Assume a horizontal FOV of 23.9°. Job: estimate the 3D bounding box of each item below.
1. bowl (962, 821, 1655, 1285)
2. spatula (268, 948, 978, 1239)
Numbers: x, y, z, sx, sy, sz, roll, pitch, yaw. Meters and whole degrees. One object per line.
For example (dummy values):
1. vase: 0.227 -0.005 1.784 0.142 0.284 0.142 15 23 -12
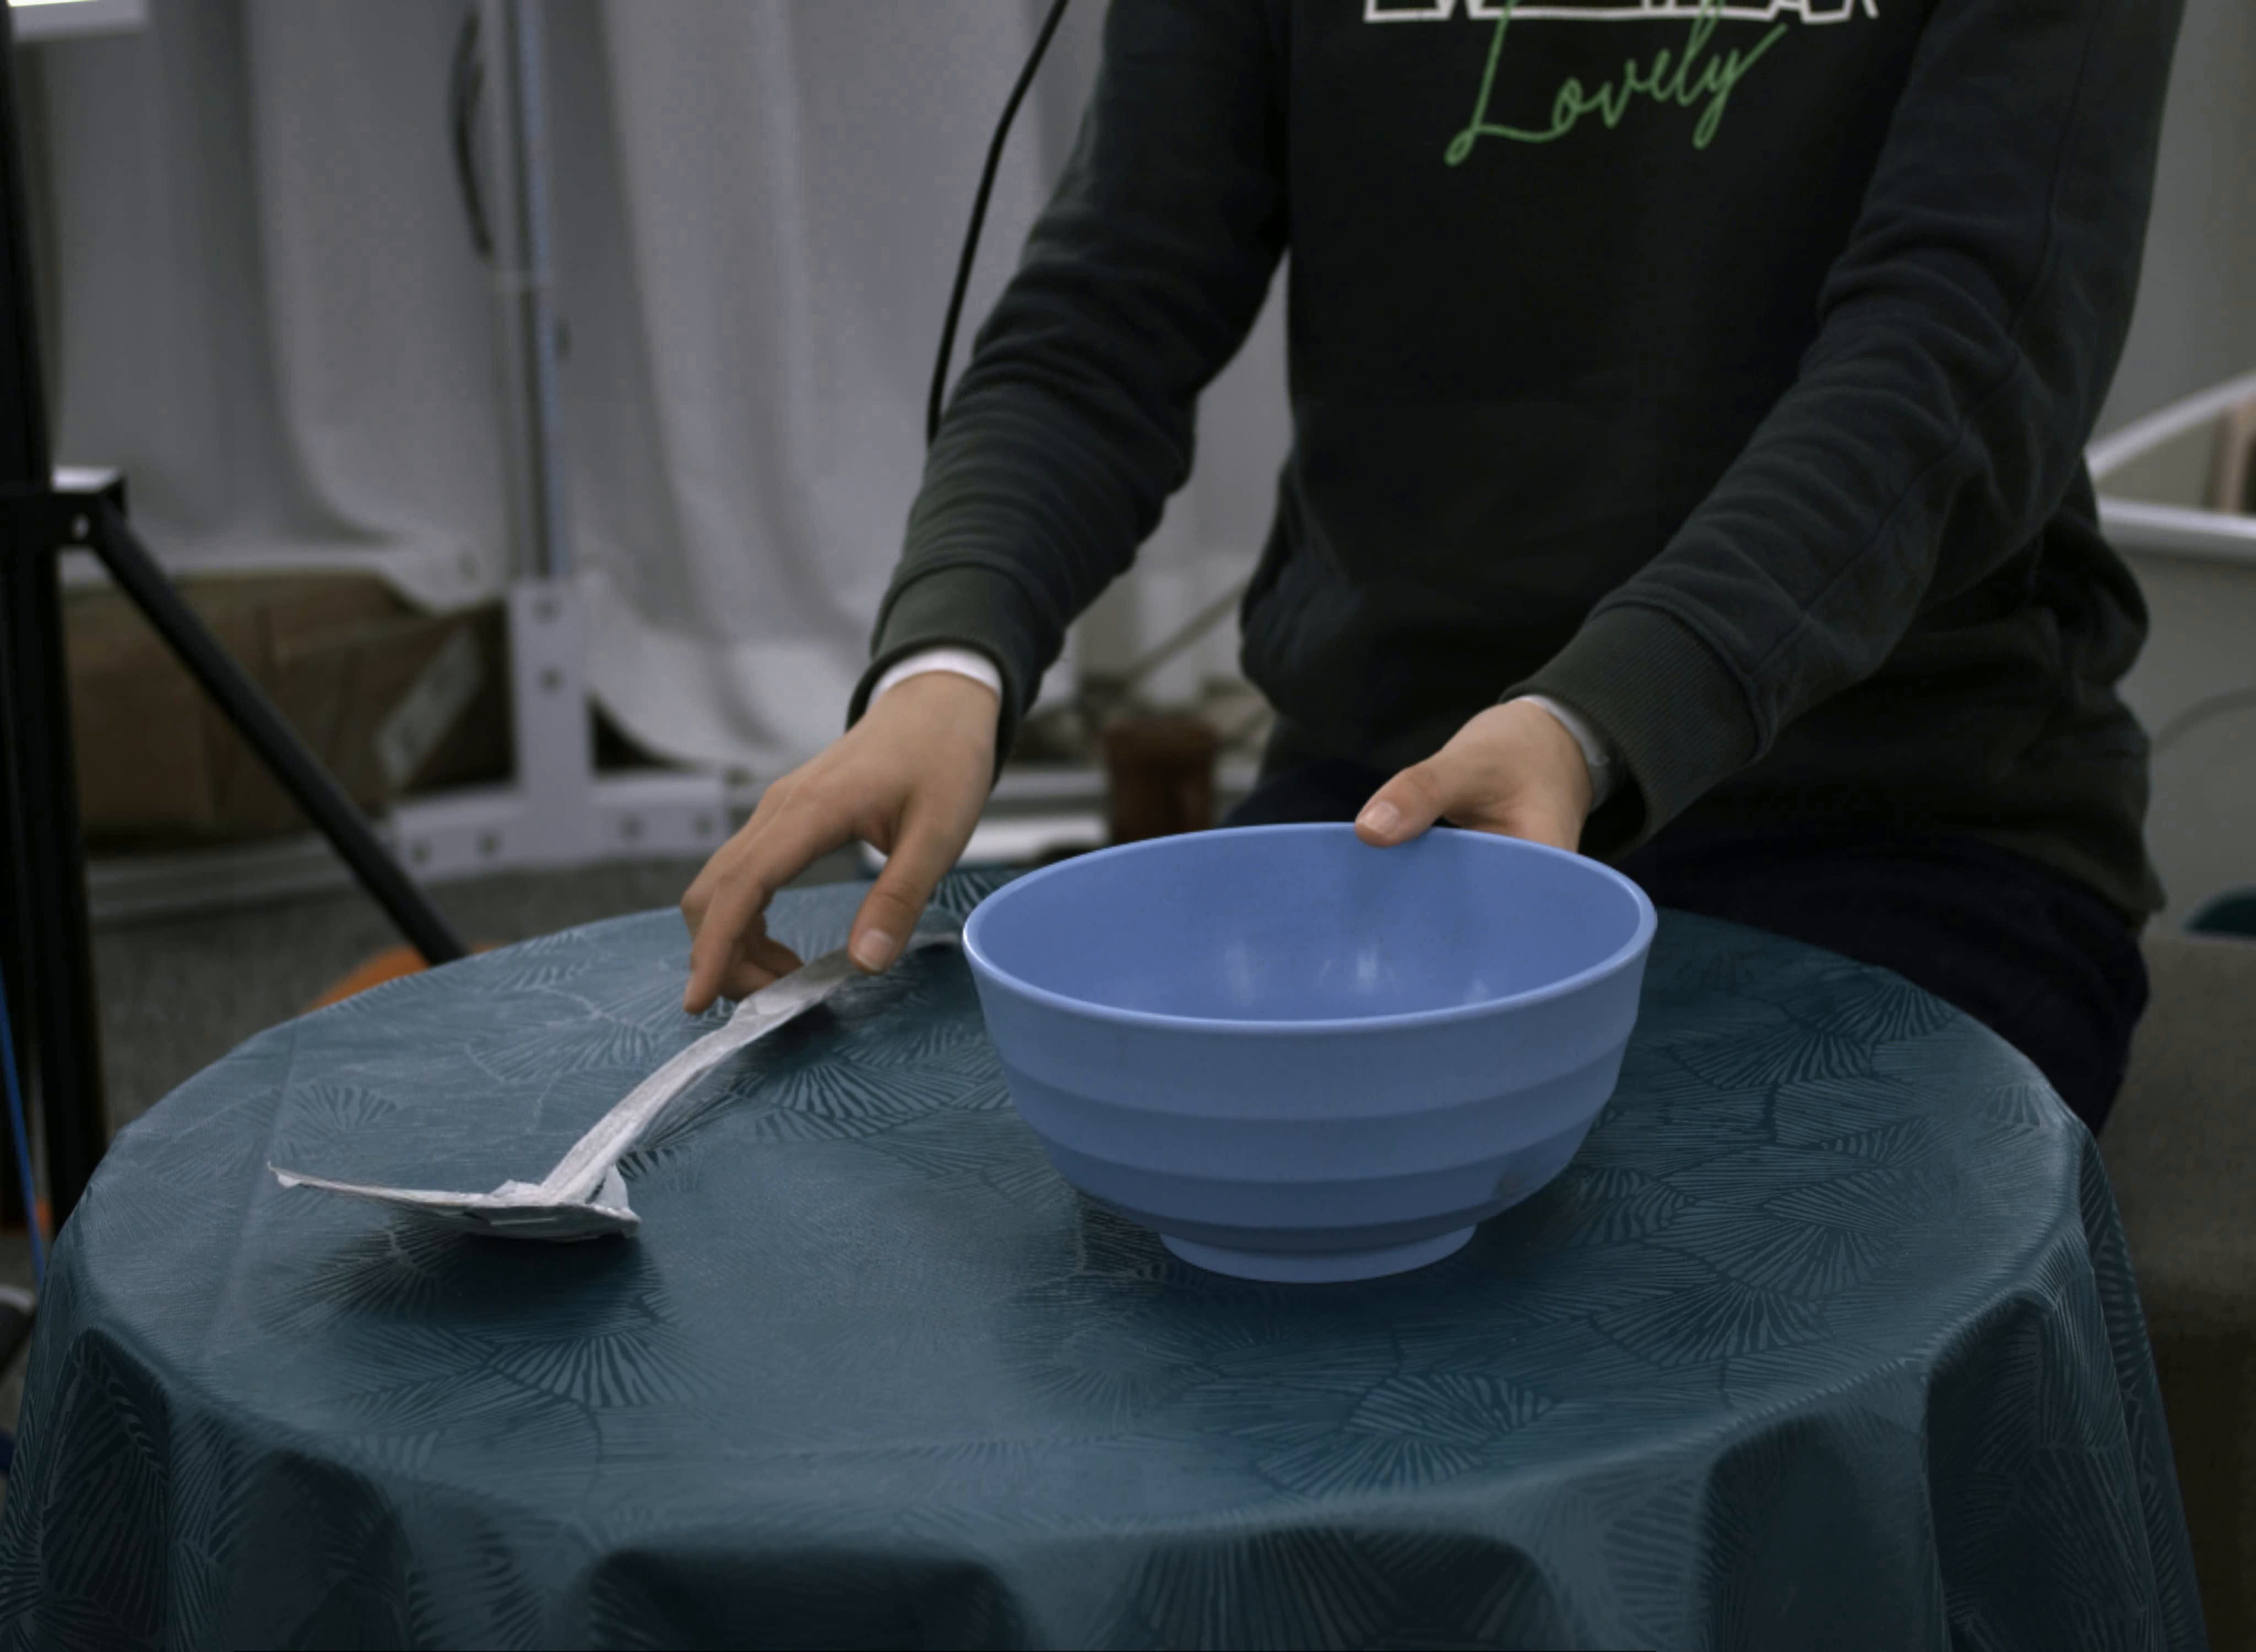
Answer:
1. bowl: 0.053 0.070 1.508 0.195 0.095 0.197 -4 16 0
2. spatula: -0.133 0.072 1.636 0.100 0.045 0.360 3 17 24
